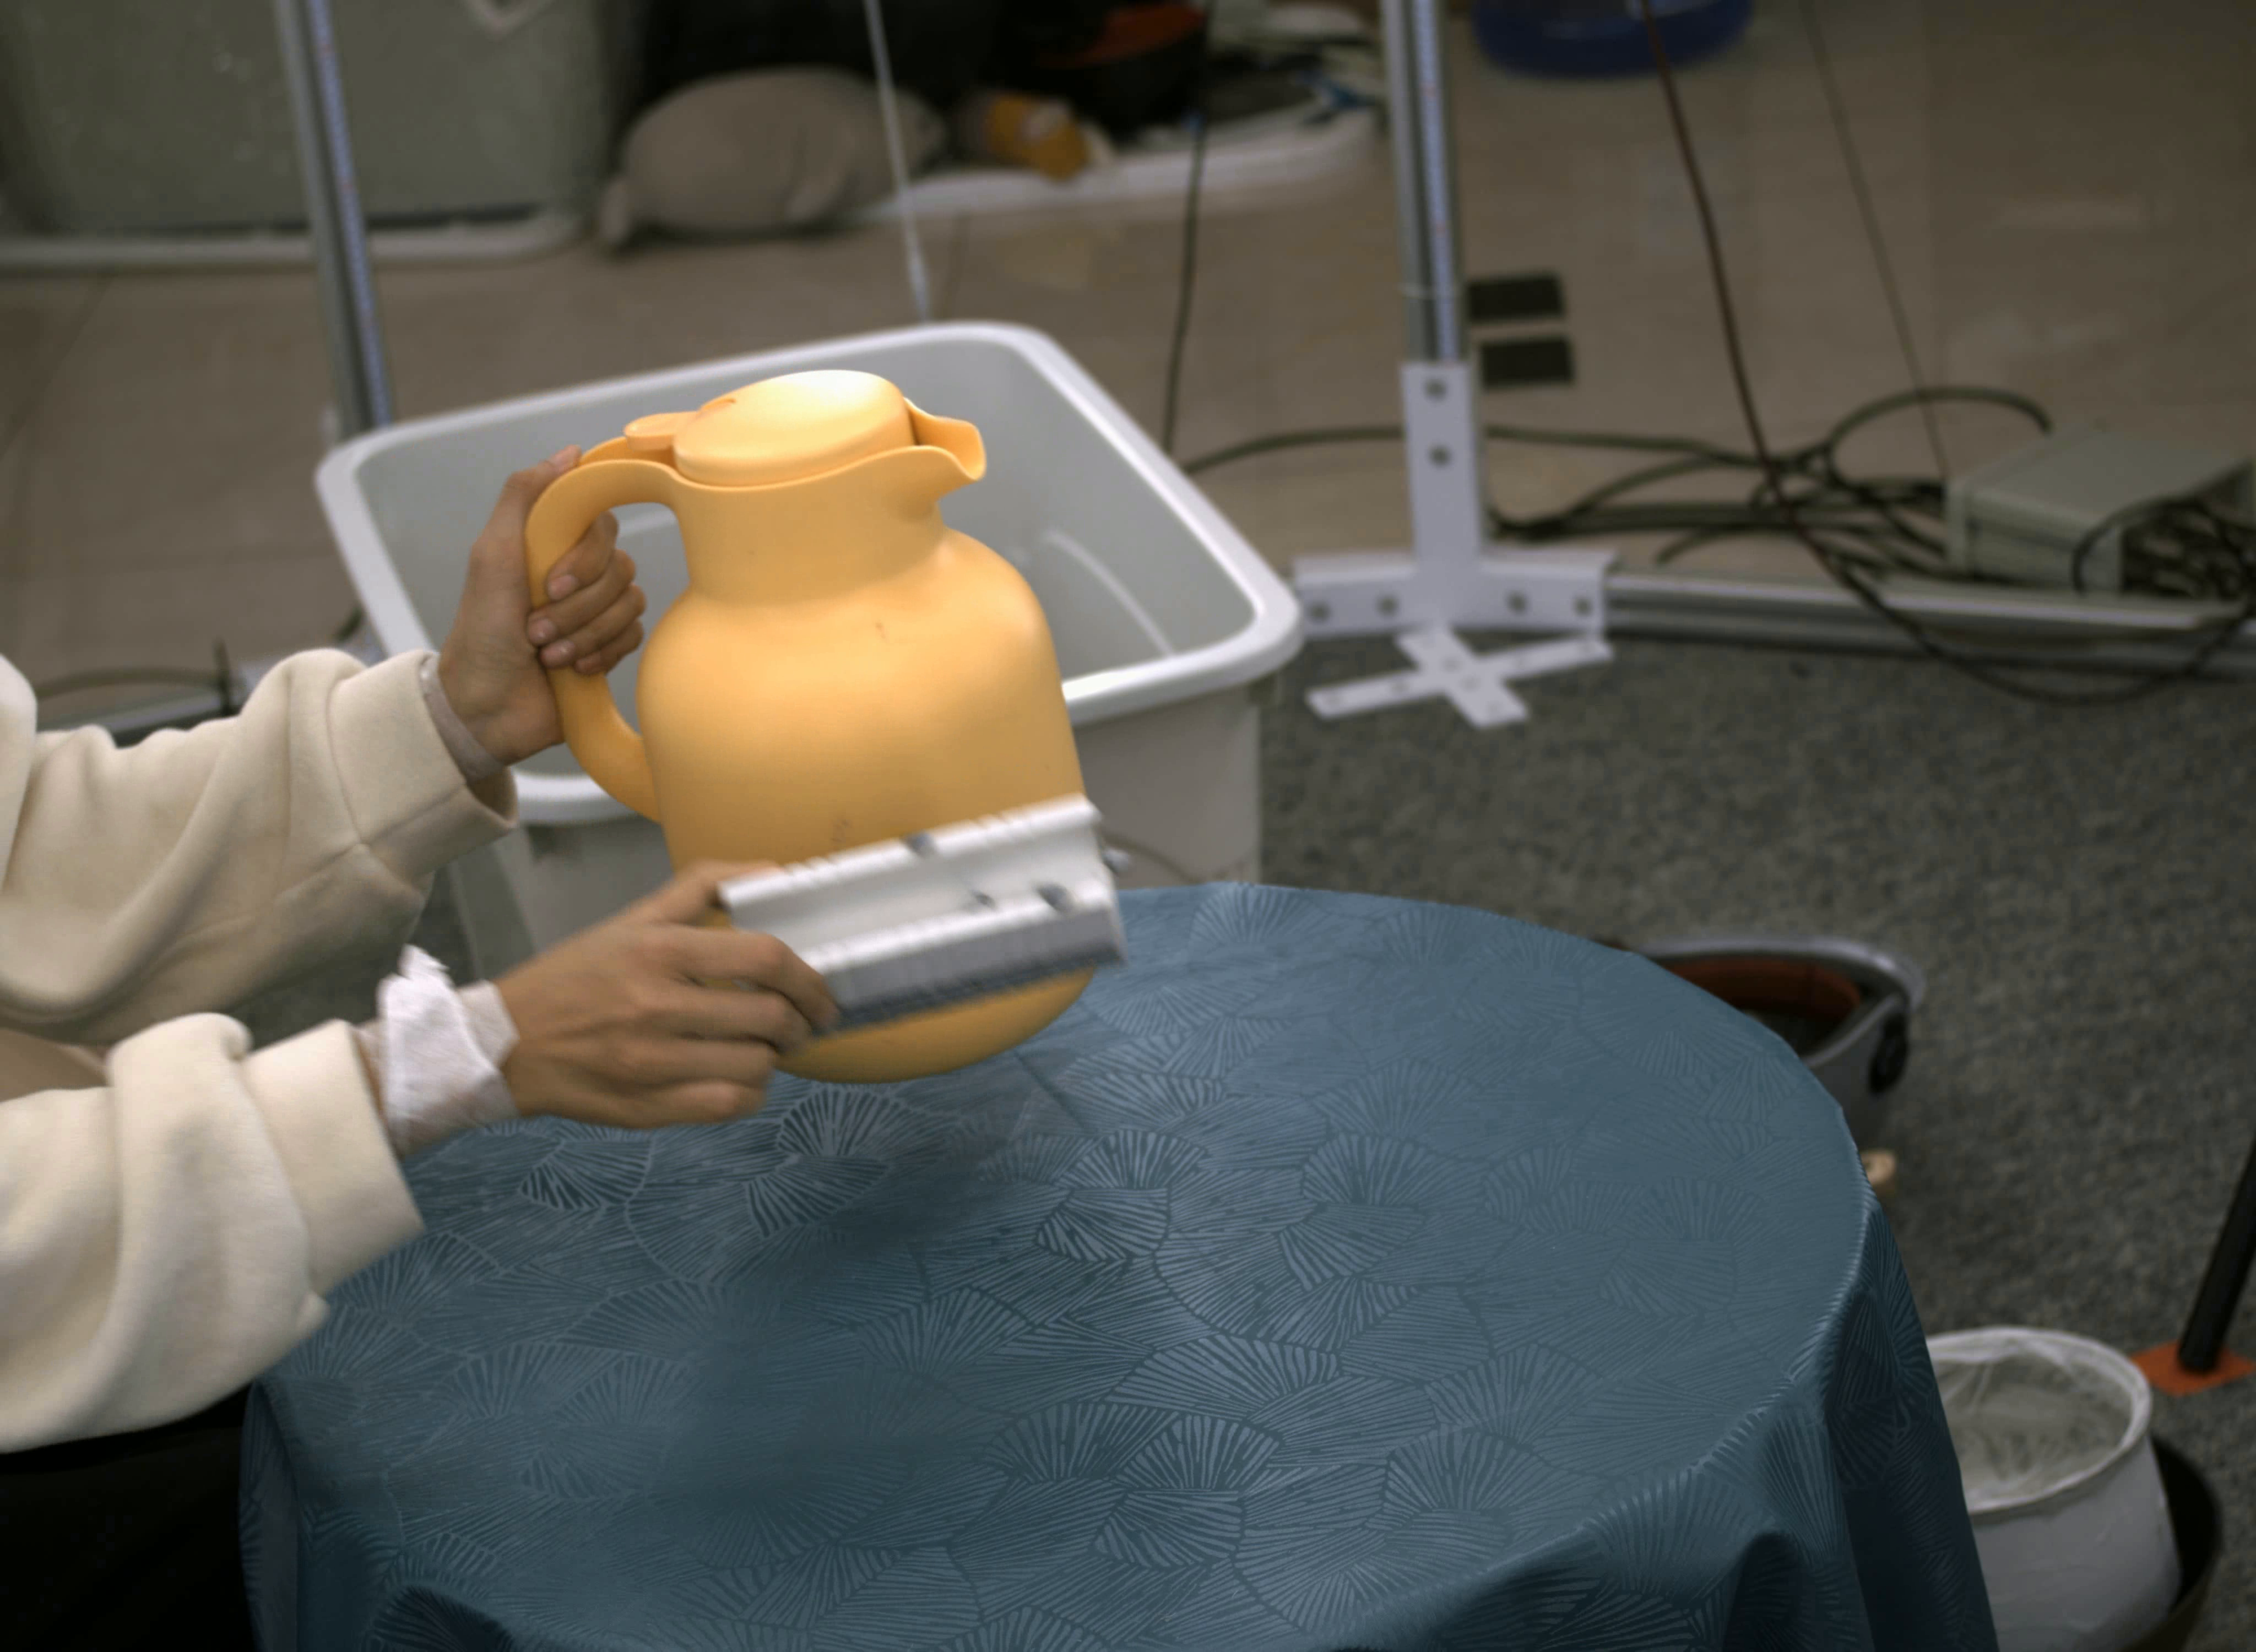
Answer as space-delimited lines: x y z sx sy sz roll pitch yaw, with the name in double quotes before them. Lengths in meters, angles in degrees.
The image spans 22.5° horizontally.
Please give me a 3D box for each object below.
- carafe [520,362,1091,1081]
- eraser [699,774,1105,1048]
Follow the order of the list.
"carafe" -0.125 -0.045 2.151 0.202 0.264 0.161 2 25 23
"eraser" -0.079 0.031 1.987 0.134 0.047 0.049 -16 56 2
